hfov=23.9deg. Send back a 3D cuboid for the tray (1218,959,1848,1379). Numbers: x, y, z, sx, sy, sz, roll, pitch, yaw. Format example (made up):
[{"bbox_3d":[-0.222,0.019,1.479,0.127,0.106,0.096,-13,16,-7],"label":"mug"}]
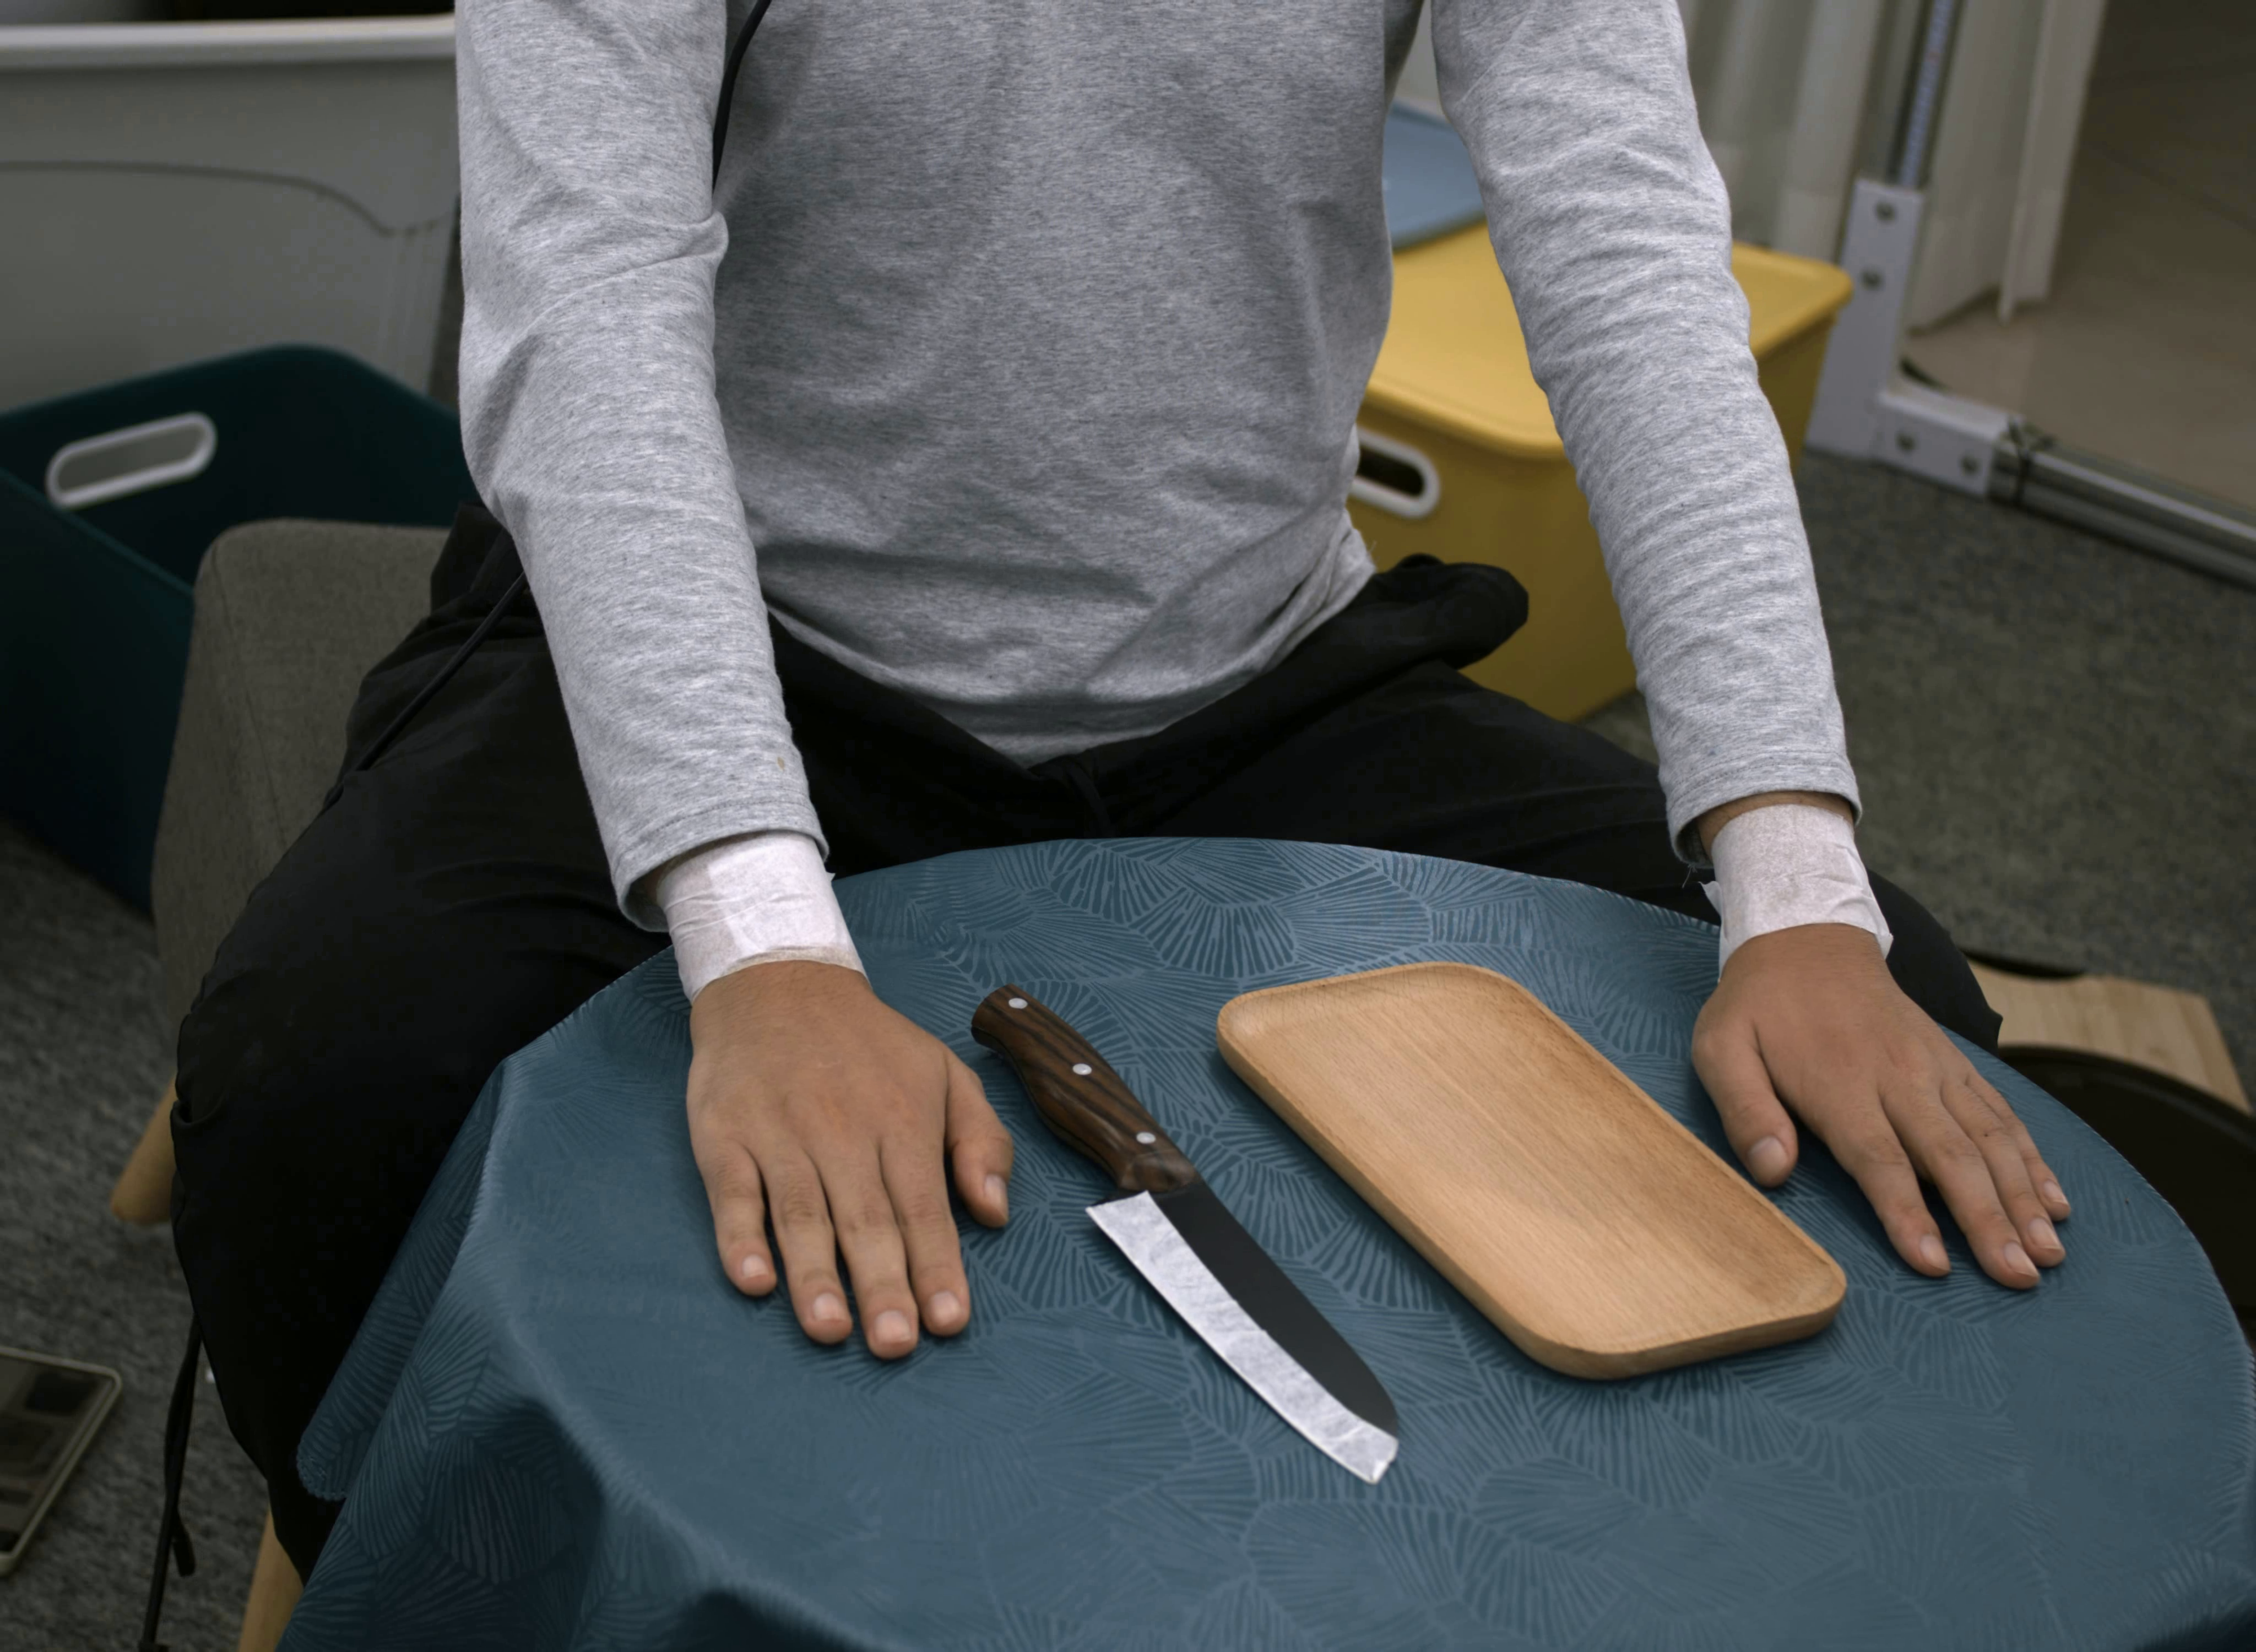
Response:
[{"bbox_3d":[0.135,0.115,1.836,0.129,0.023,0.253,-6,28,-28],"label":"tray"}]

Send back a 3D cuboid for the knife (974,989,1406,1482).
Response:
[{"bbox_3d":[0.017,0.135,1.772,0.050,0.020,0.292,-12,34,-23],"label":"knife"}]
